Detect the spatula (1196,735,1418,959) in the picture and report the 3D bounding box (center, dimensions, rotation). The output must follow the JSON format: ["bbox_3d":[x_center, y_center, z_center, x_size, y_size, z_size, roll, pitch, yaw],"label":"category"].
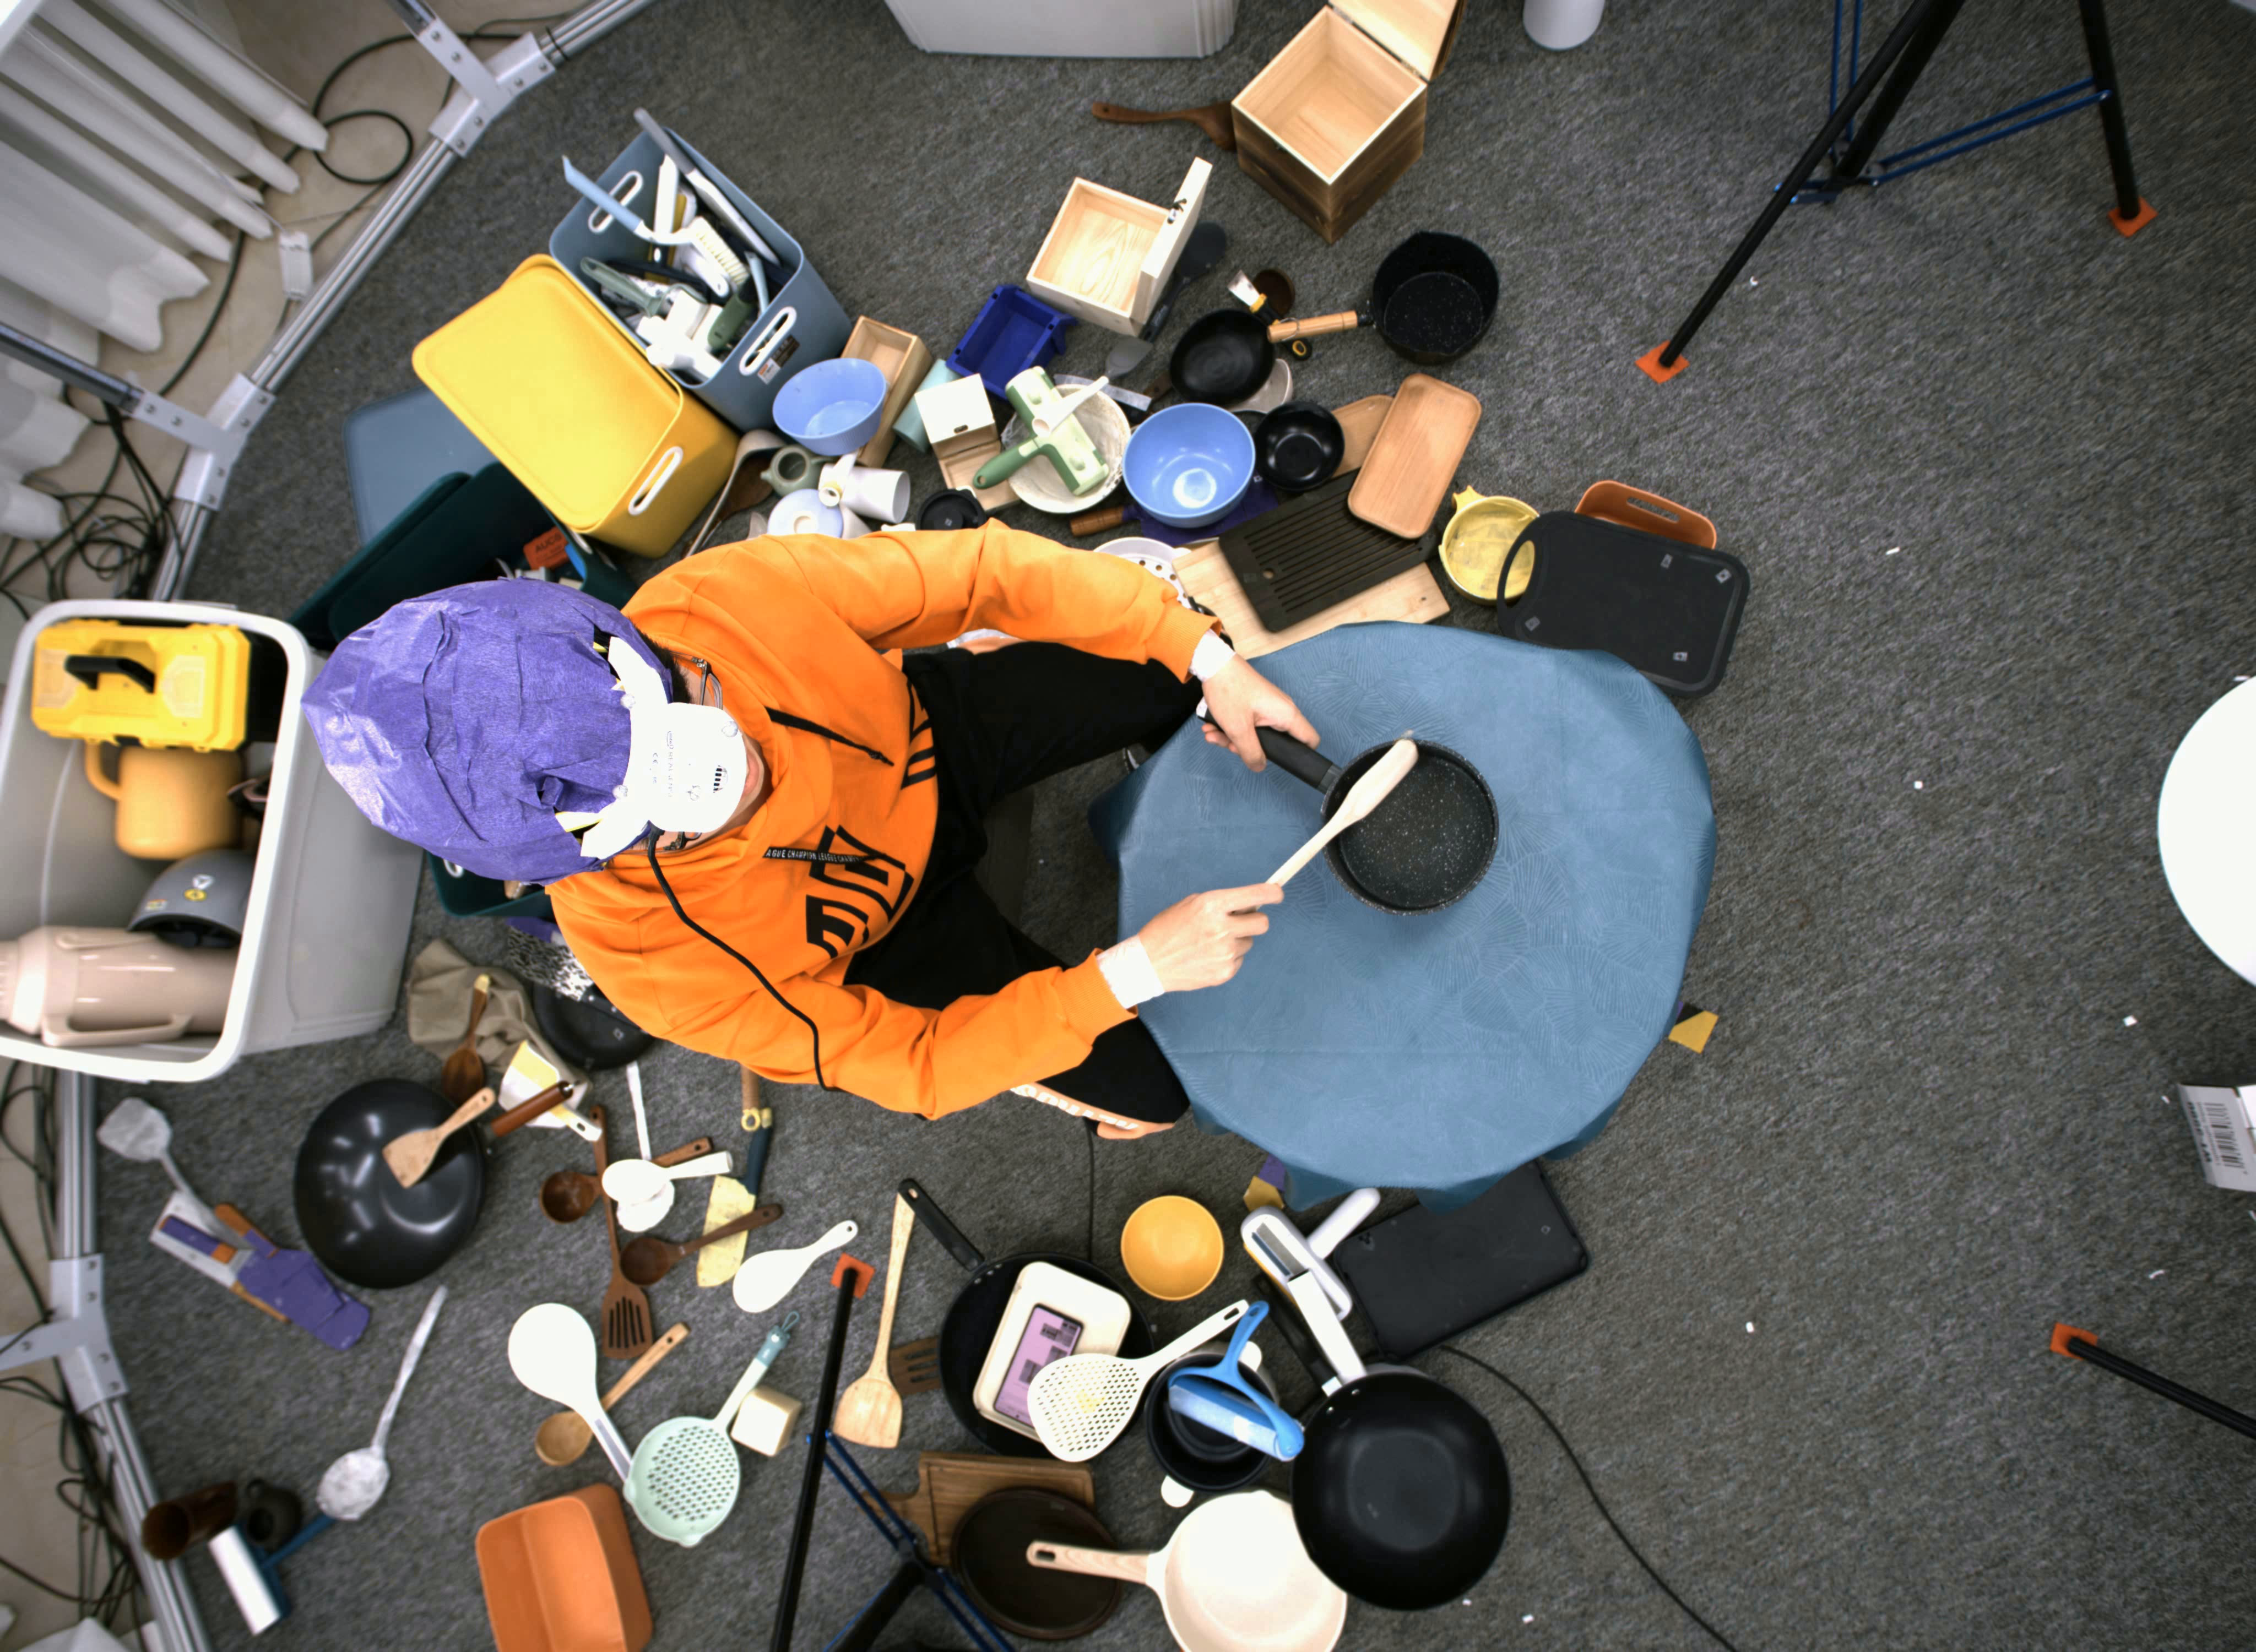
[{"bbox_3d":[0.172,0.024,1.320,0.293,0.073,0.010,-44,67,1],"label":"spatula"}]

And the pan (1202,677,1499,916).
[{"bbox_3d":[0.217,-0.042,1.378,0.327,0.086,0.173,36,98,14],"label":"pan"}]
